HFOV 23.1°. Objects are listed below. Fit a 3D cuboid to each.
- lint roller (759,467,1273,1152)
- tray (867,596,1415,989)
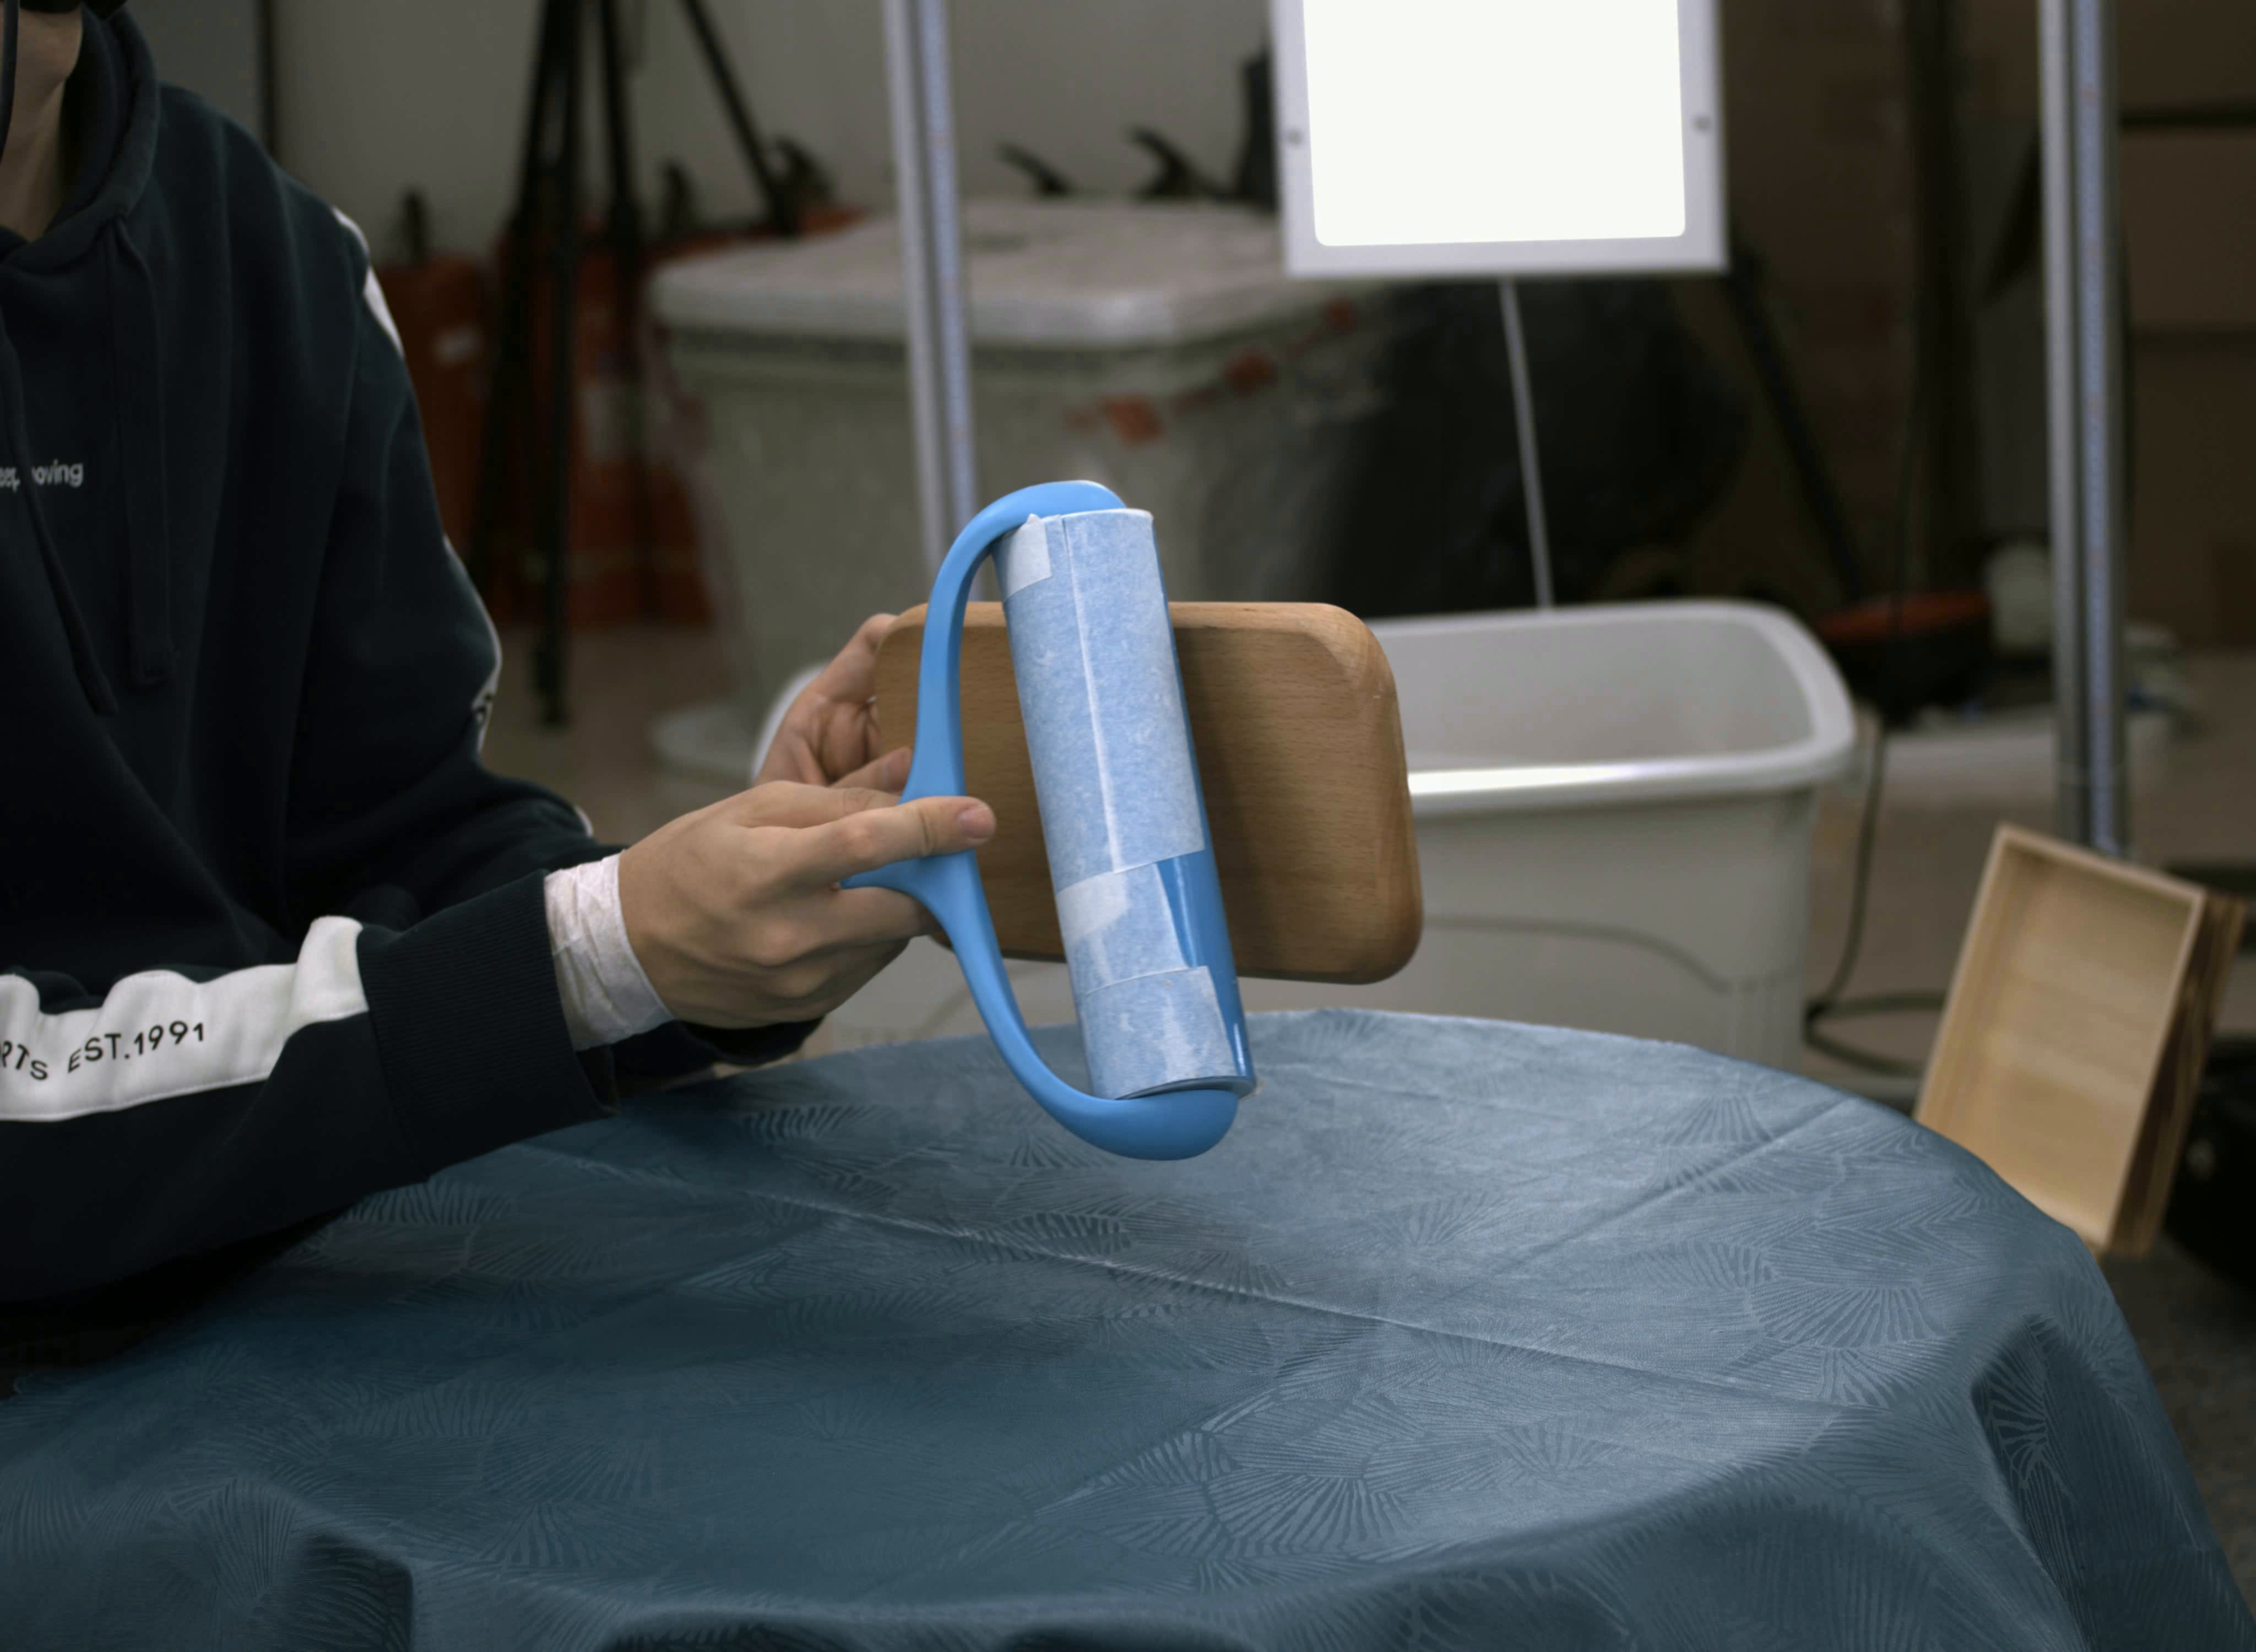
[{"bbox_3d":[-0.052,0.011,1.798,0.183,0.229,0.067,-19,-14,21],"label":"lint roller"},{"bbox_3d":[-0.001,-0.011,1.848,0.022,0.131,0.256,-11,7,-41],"label":"tray"}]
